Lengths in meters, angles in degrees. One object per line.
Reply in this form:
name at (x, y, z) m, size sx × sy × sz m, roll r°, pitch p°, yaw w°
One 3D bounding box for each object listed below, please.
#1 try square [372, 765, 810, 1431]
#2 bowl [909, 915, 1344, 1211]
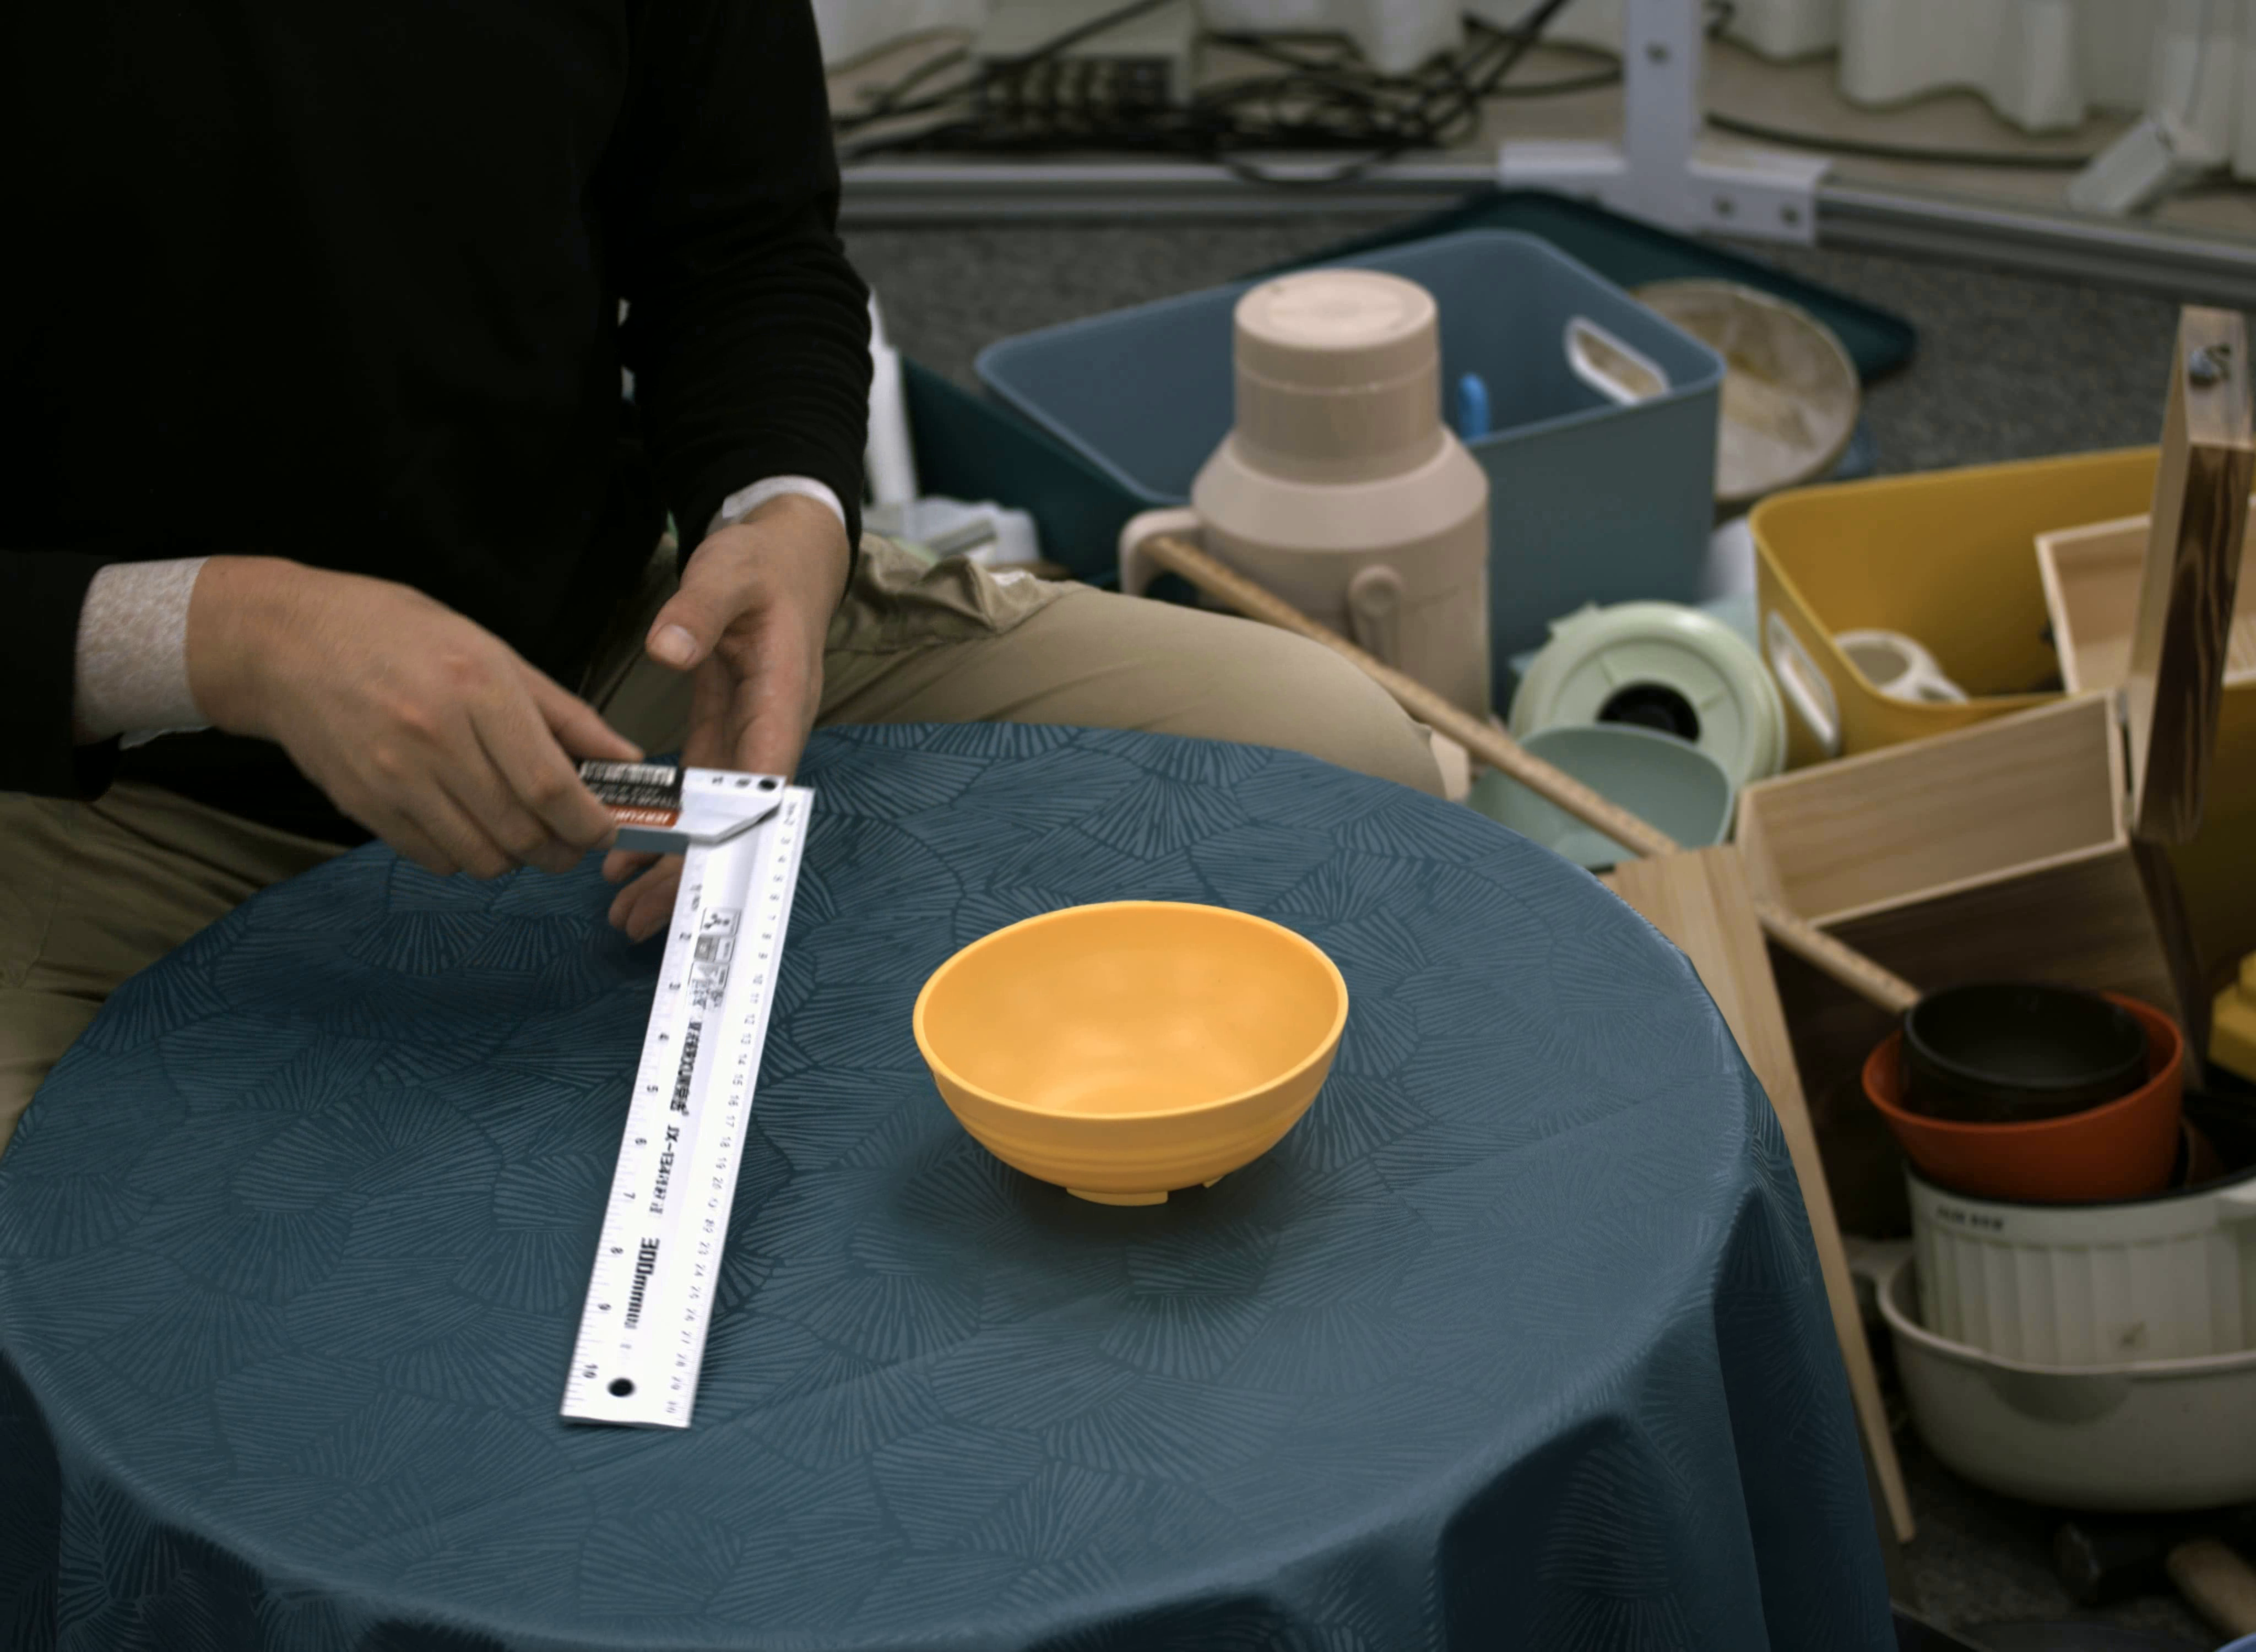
try square at (-0.197, 0.085, 1.869) m, size 0.151 × 0.015 × 0.319 m, roll 3°, pitch 39°, yaw 2°
bowl at (0.000, 0.087, 1.869) m, size 0.144 × 0.059 × 0.147 m, roll -2°, pitch 24°, yaw 1°
